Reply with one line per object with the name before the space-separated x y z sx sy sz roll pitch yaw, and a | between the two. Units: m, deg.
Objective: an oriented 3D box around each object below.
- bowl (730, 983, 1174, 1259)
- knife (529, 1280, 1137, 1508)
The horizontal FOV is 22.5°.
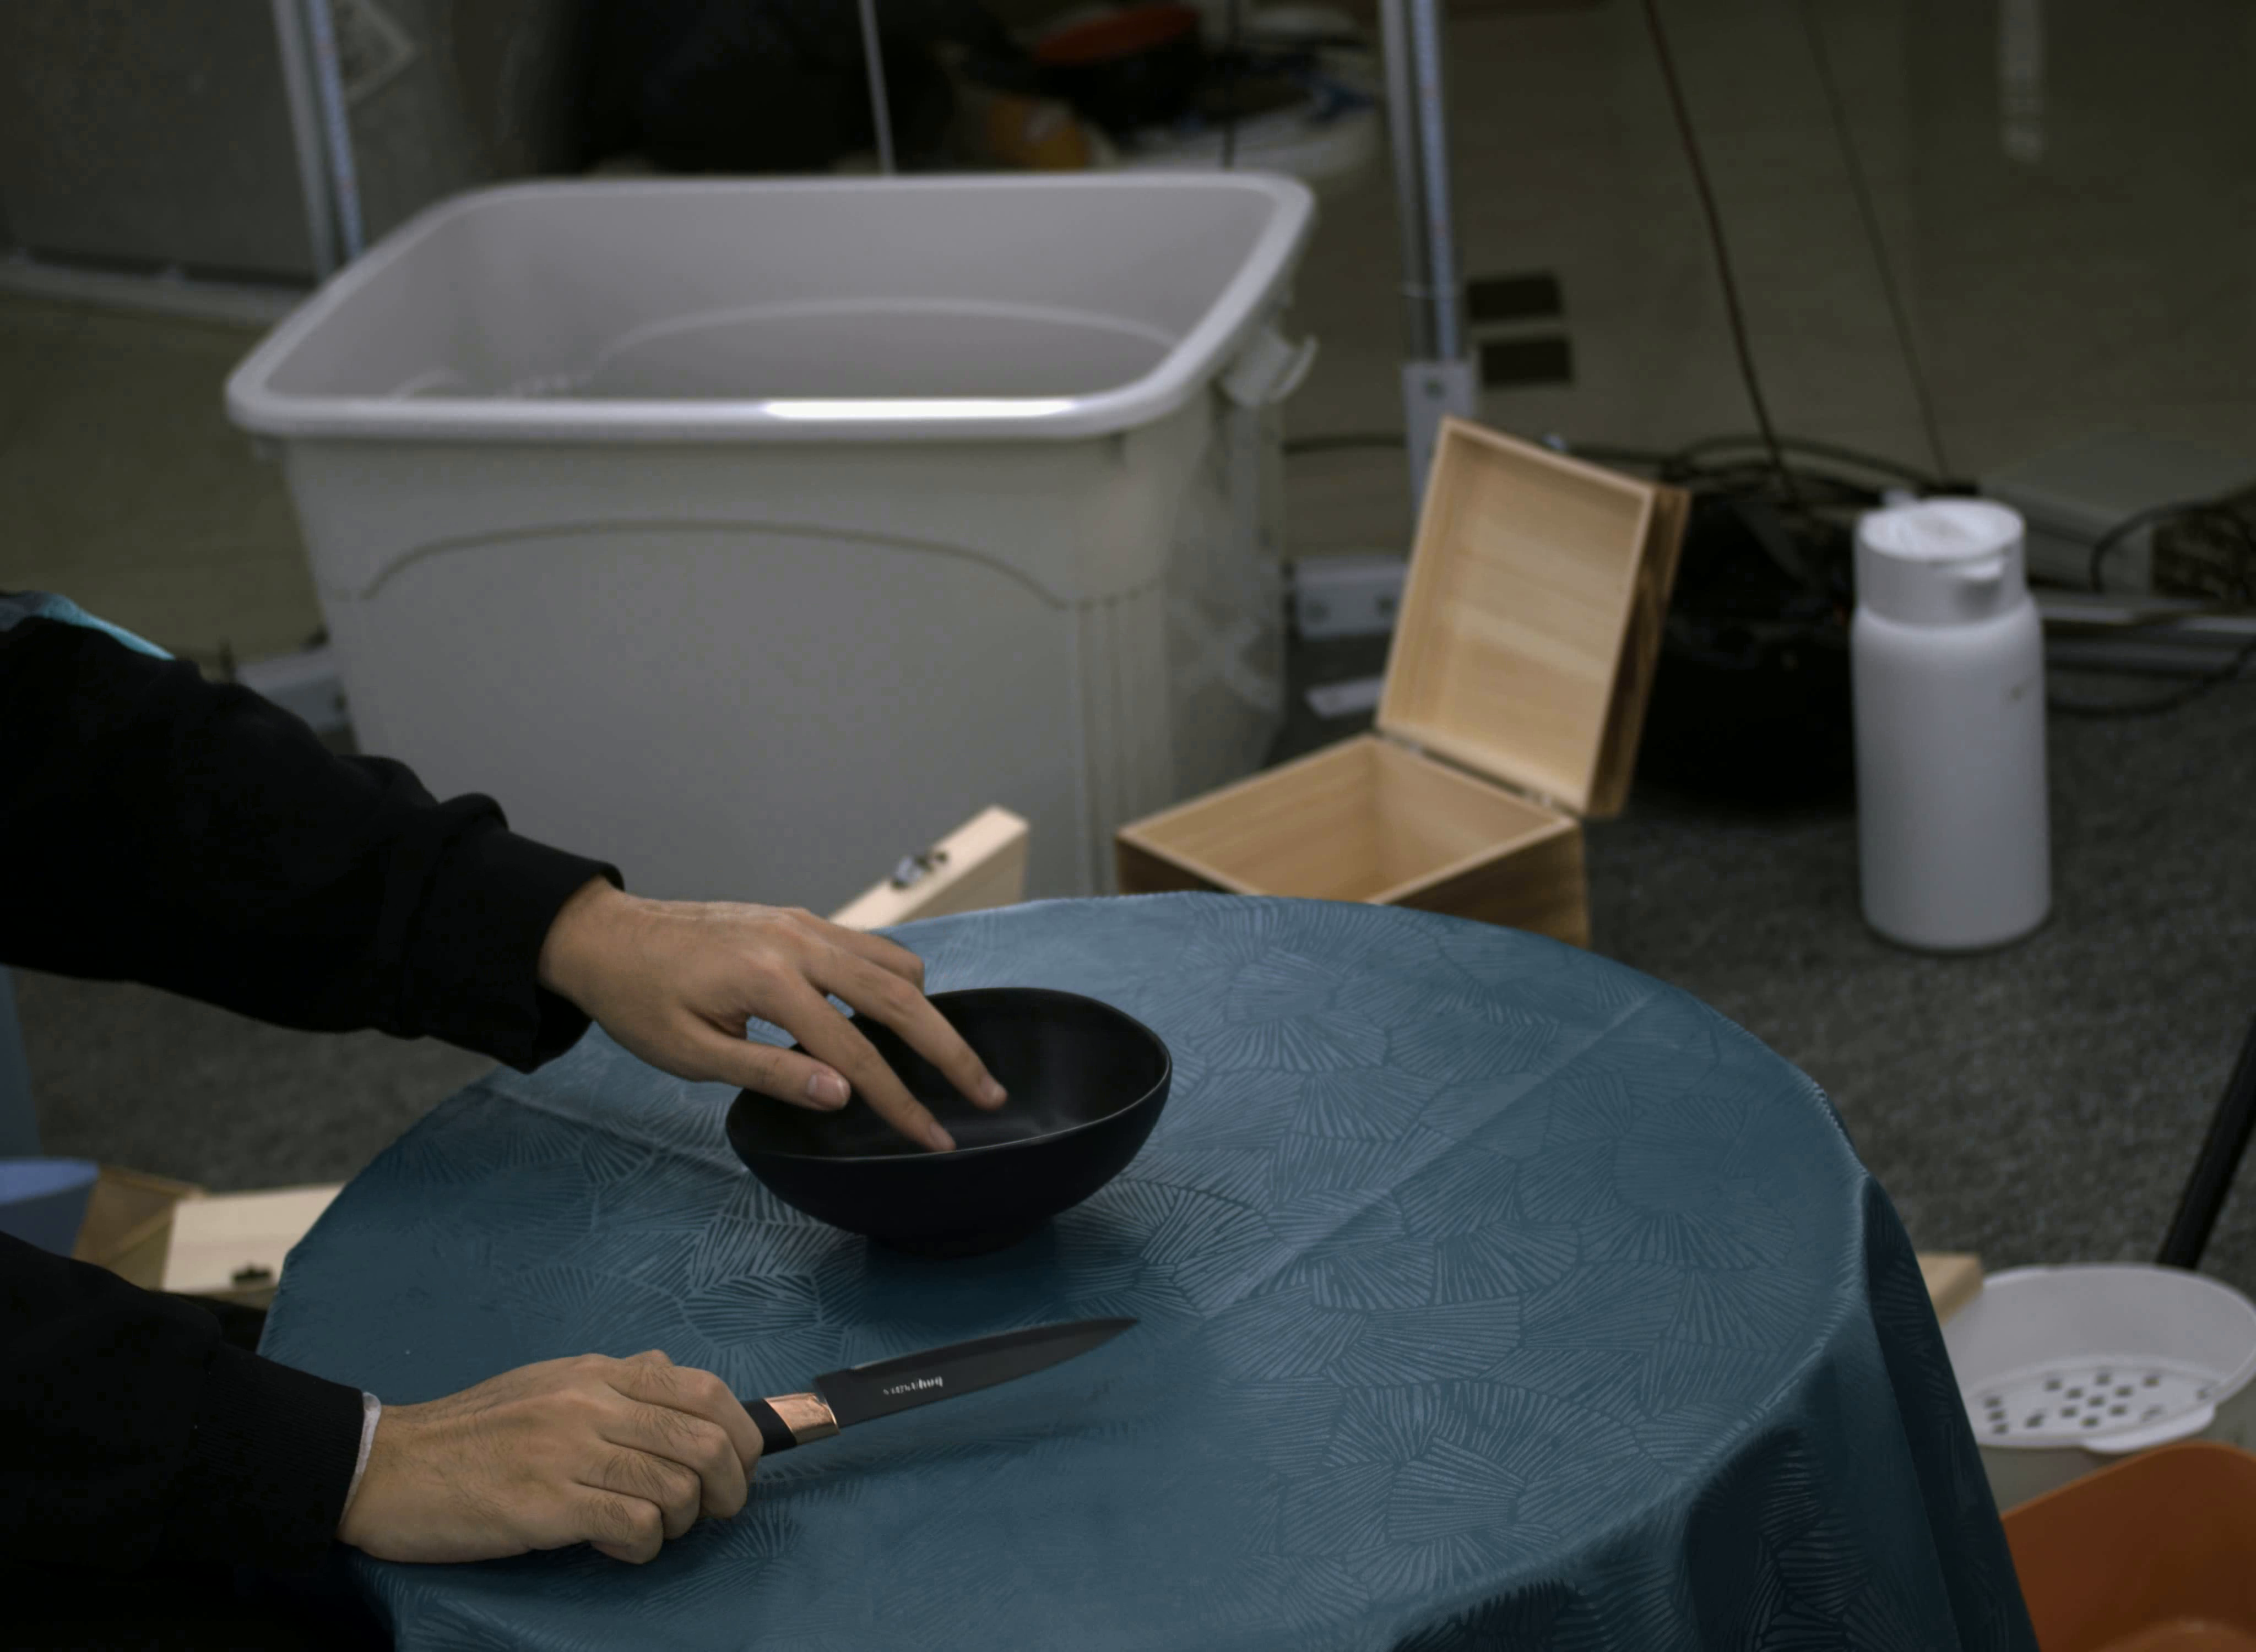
bowl | -0.064 0.119 2.127 0.170 0.068 0.135 -7 24 3
knife | -0.102 0.198 1.985 0.225 0.017 0.026 -16 66 -7
